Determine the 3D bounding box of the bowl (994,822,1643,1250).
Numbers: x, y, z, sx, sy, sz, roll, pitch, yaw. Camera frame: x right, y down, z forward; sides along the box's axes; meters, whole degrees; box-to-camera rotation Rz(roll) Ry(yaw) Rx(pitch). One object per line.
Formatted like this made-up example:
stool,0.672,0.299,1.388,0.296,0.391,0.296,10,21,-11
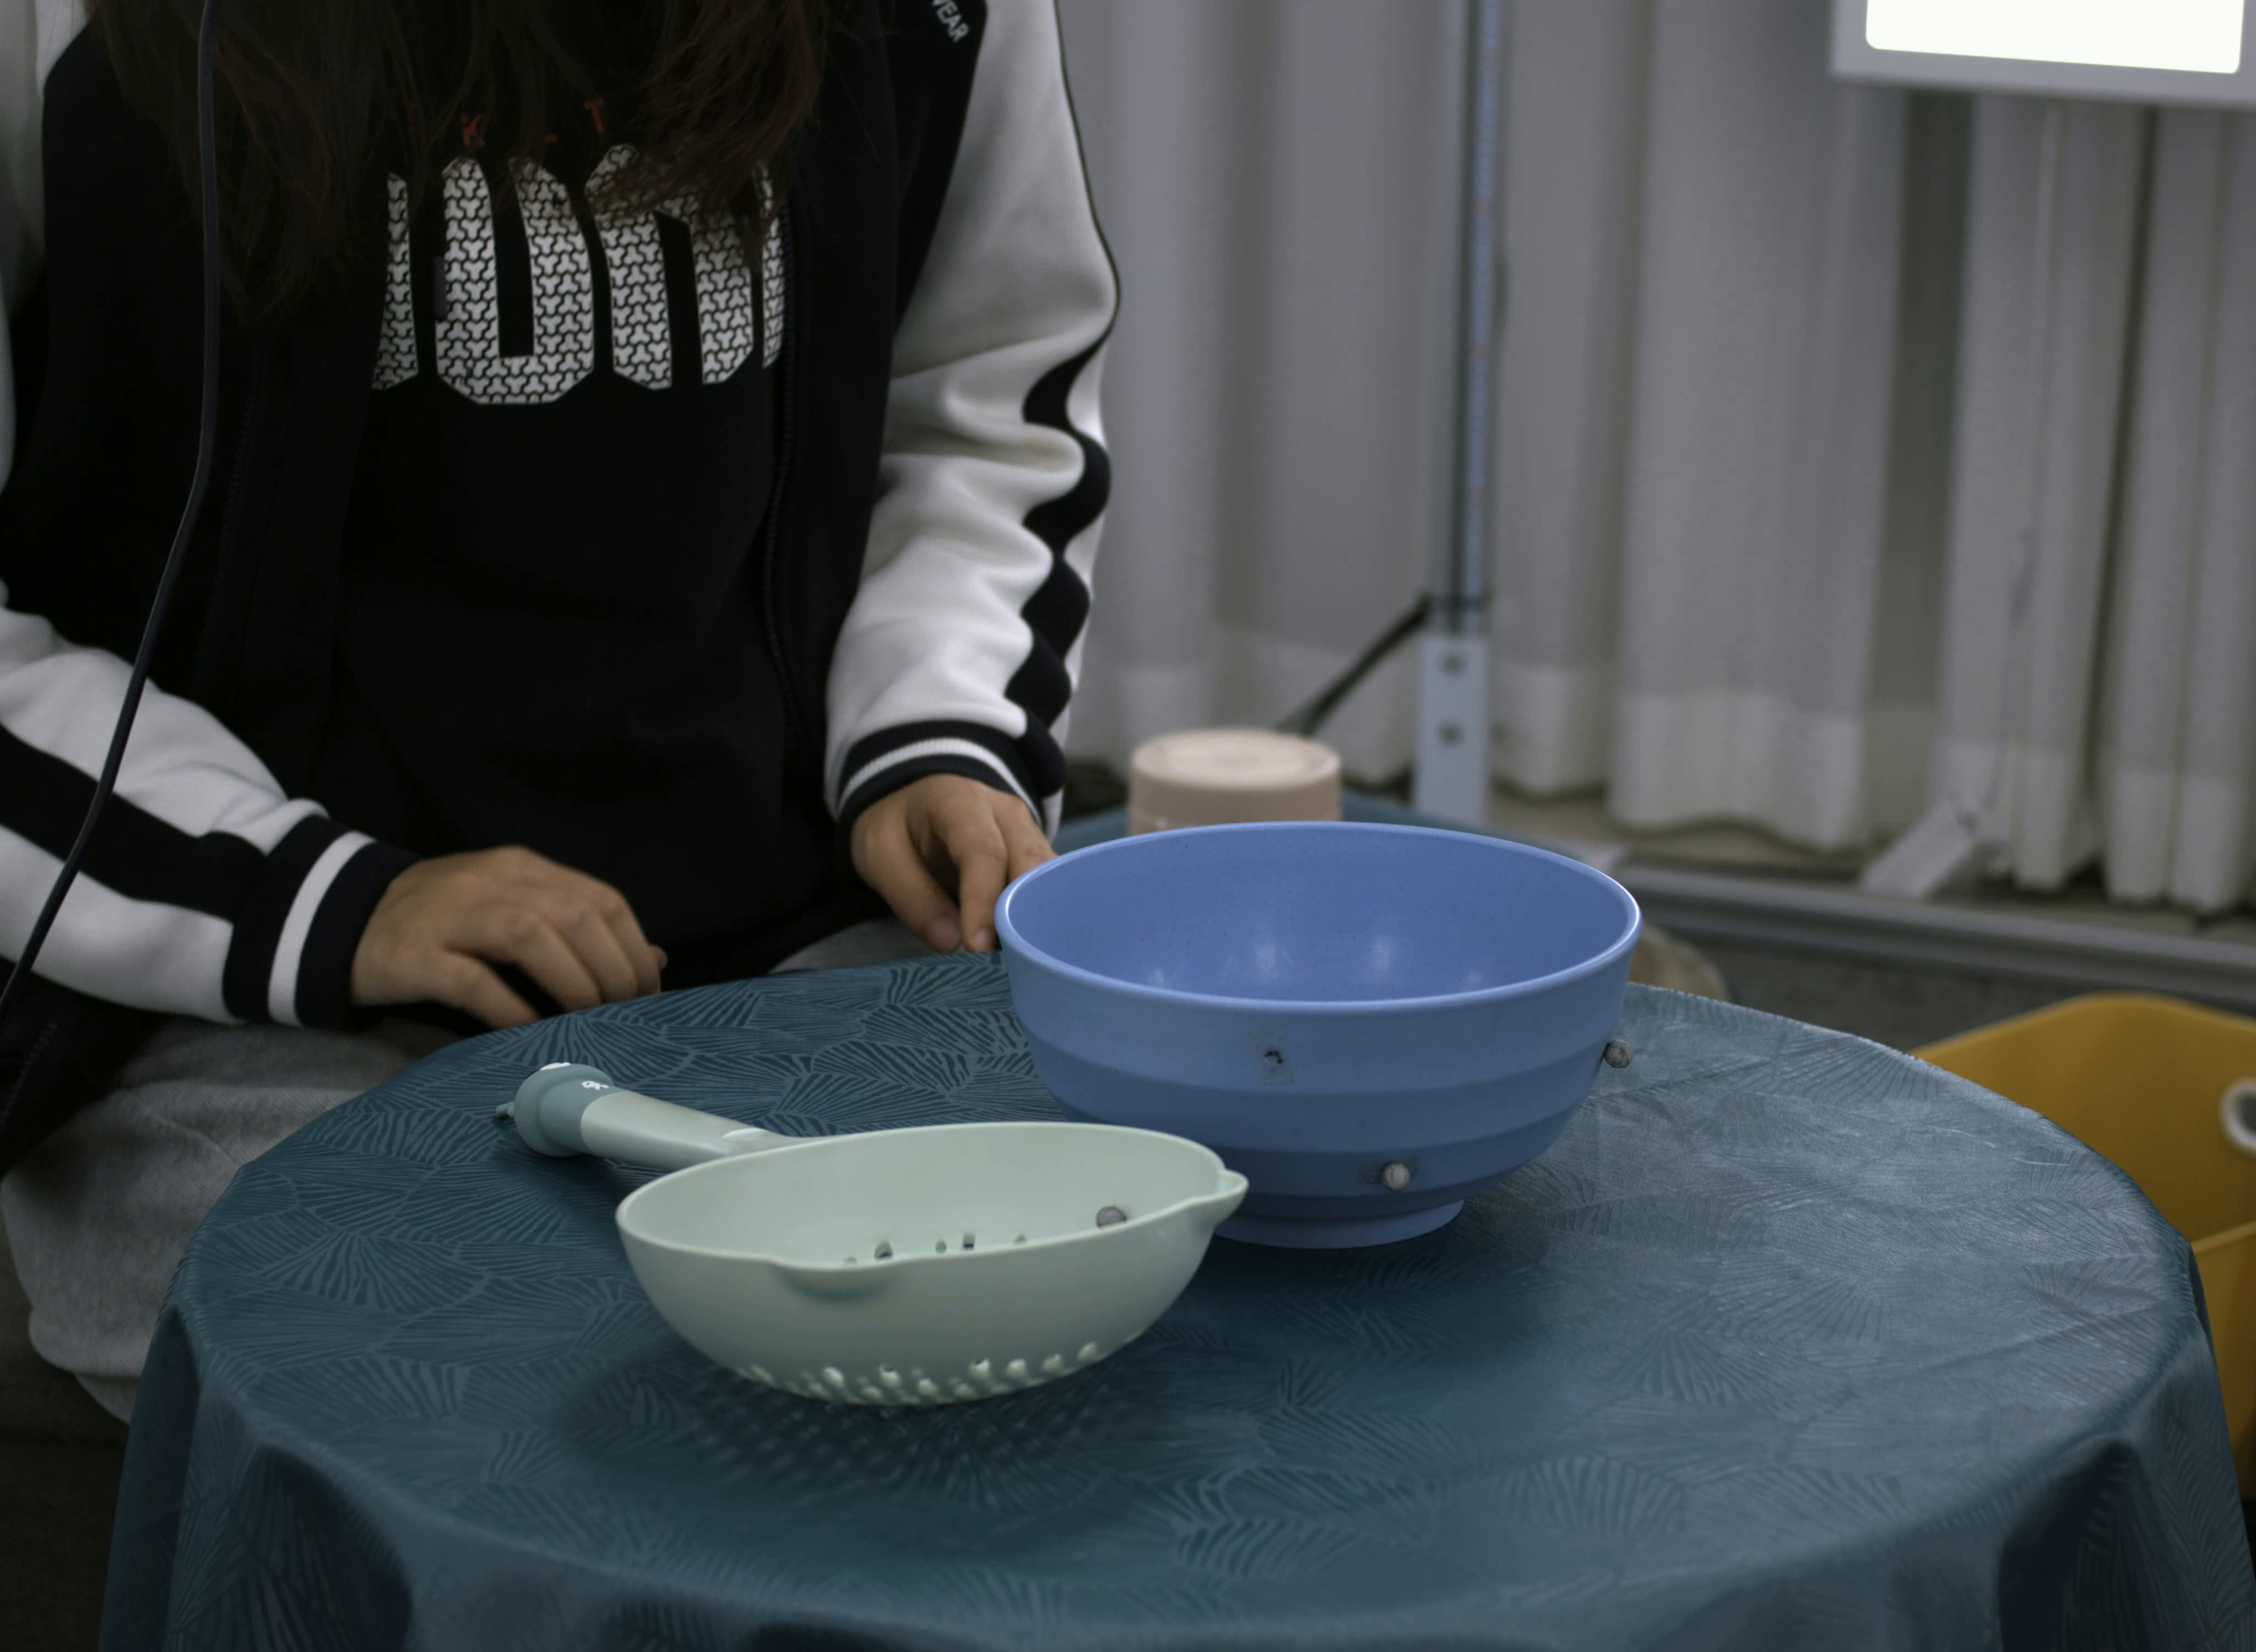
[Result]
bowl,0.057,0.069,1.601,0.196,0.096,0.195,0,16,1

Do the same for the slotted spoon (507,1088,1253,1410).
slotted spoon,-0.105,0.106,1.533,0.170,0.076,0.354,-8,16,-30
